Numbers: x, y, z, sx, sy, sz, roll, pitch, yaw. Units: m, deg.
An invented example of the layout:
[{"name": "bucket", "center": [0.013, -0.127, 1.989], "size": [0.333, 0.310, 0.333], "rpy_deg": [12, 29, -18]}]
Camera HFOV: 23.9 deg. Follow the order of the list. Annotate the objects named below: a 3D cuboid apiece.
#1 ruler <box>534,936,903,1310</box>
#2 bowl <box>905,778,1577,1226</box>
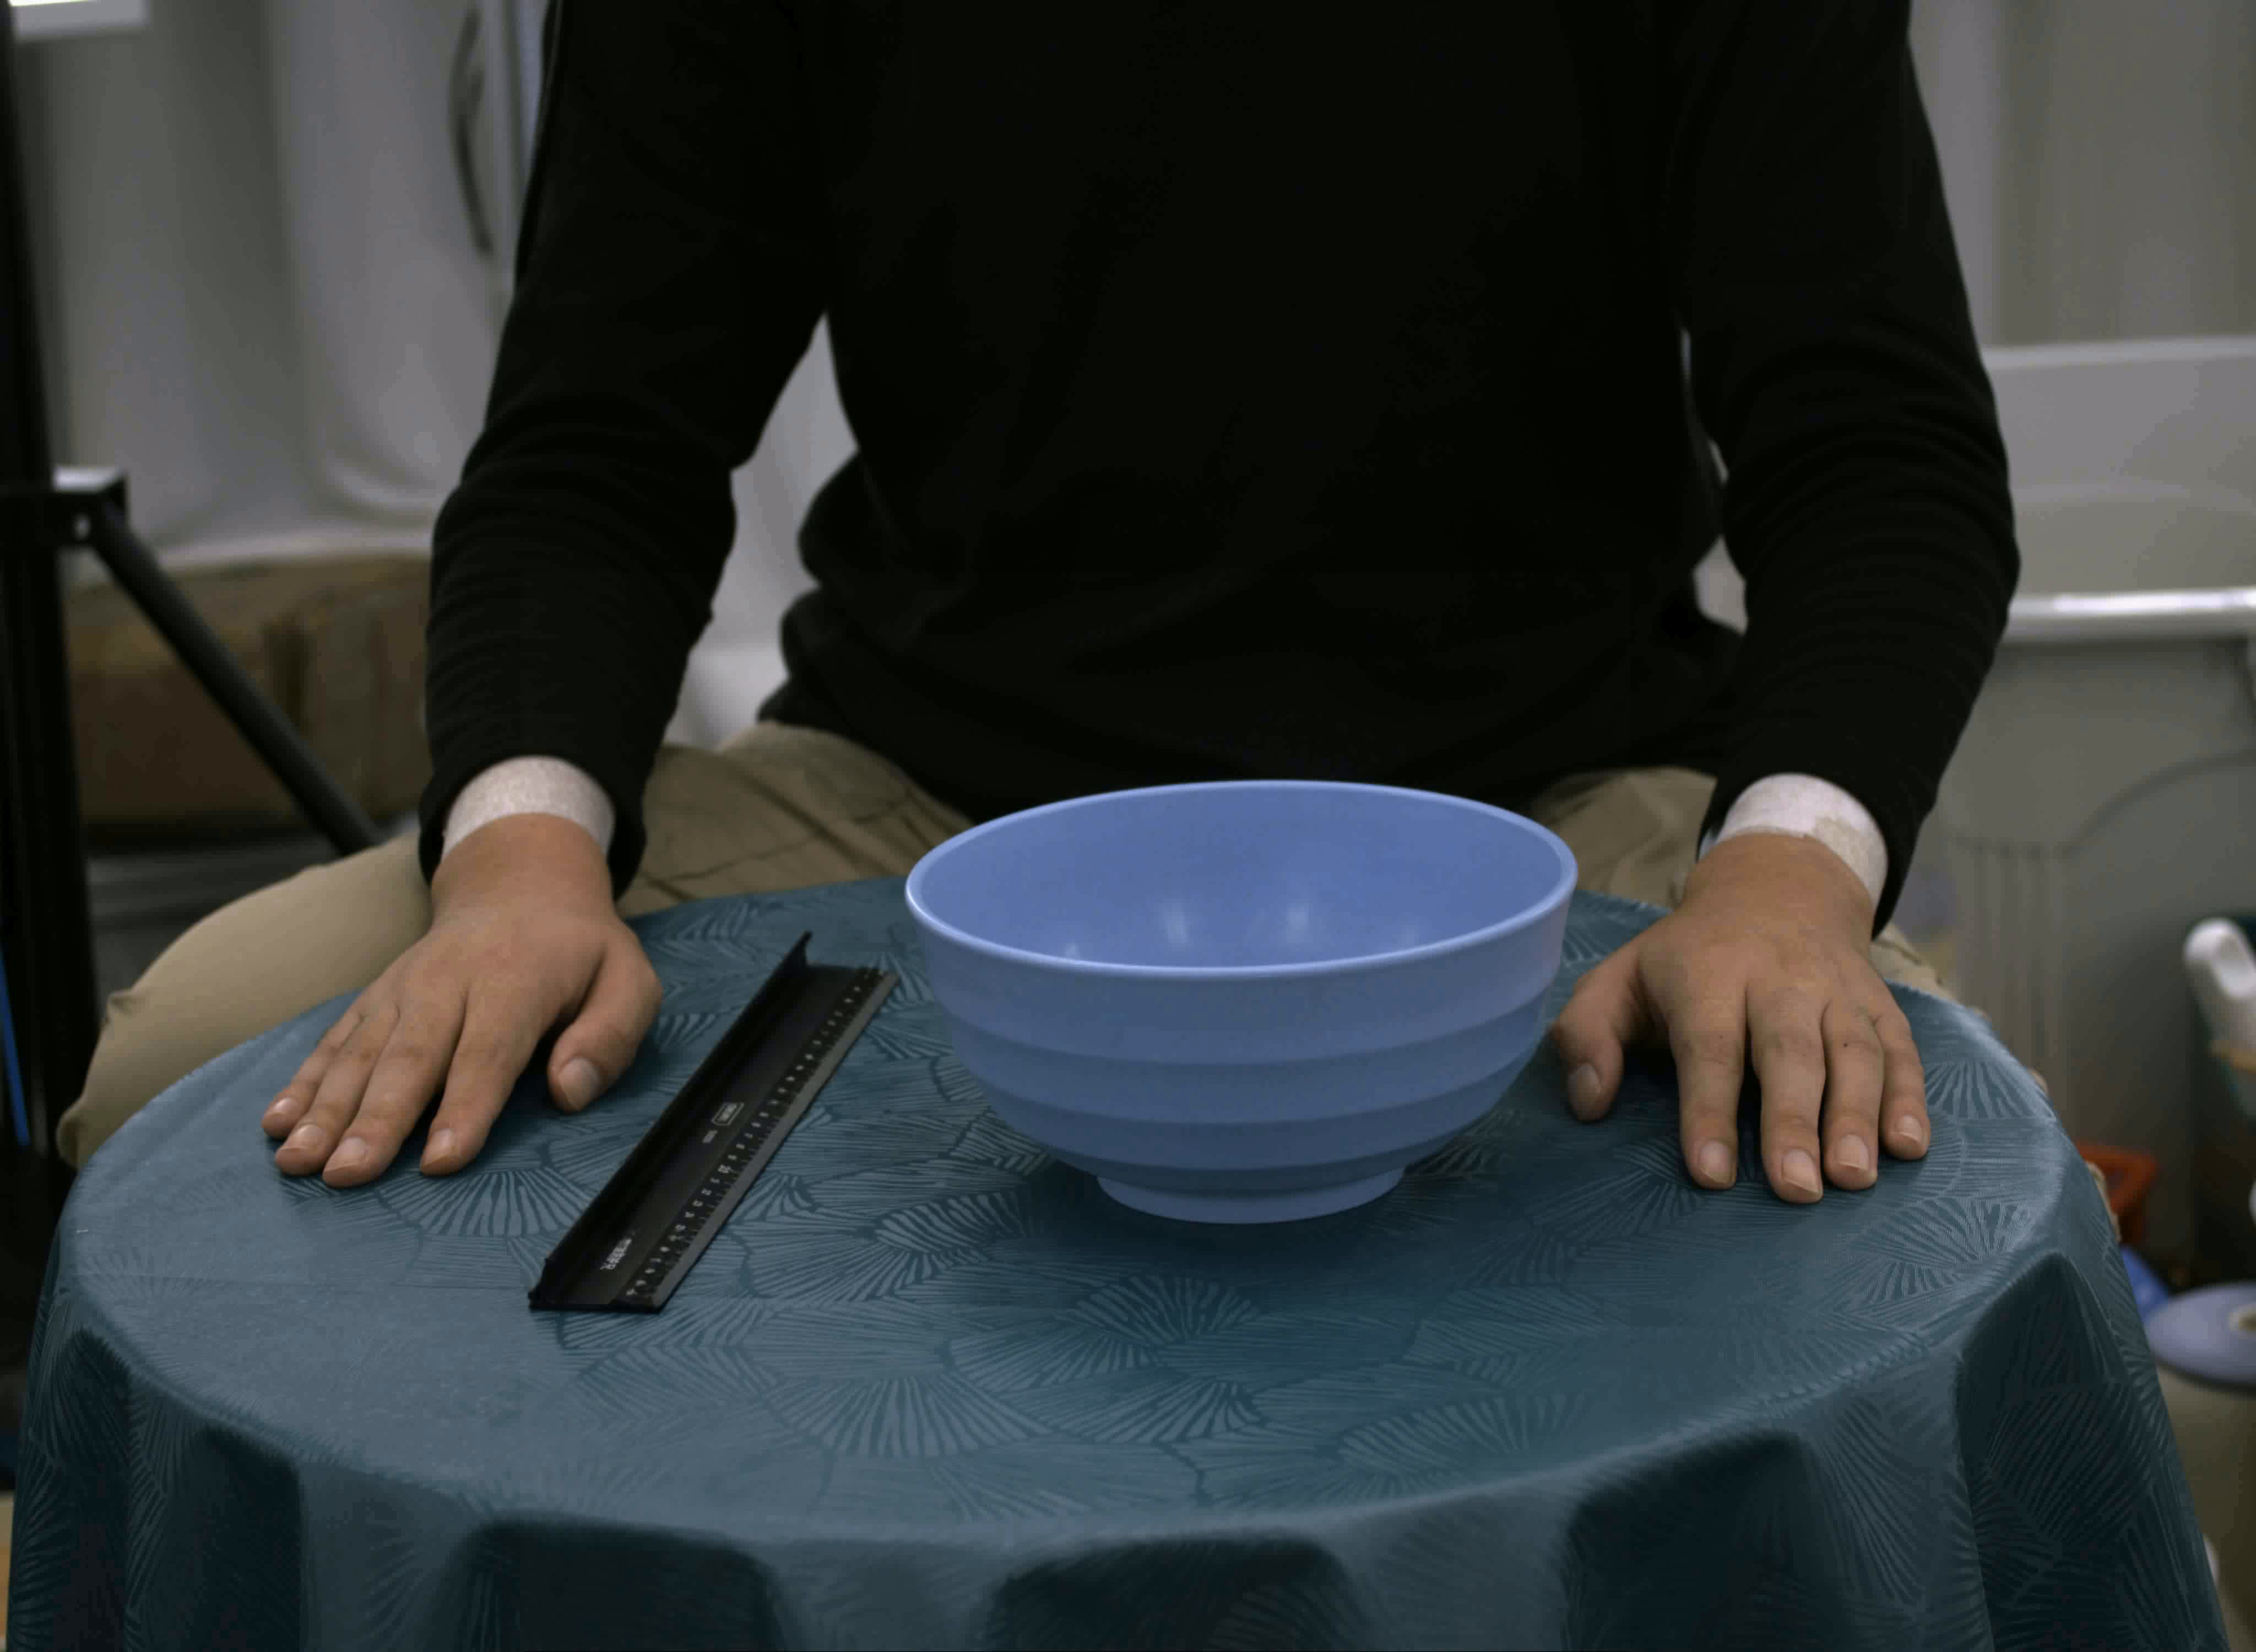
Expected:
[{"name": "ruler", "center": [-0.120, 0.086, 1.627], "size": [0.039, 0.017, 0.311], "rpy_deg": [4, 17, 10]}, {"name": "bowl", "center": [0.034, 0.057, 1.557], "size": [0.195, 0.095, 0.197], "rpy_deg": [-3, 16, -1]}]
